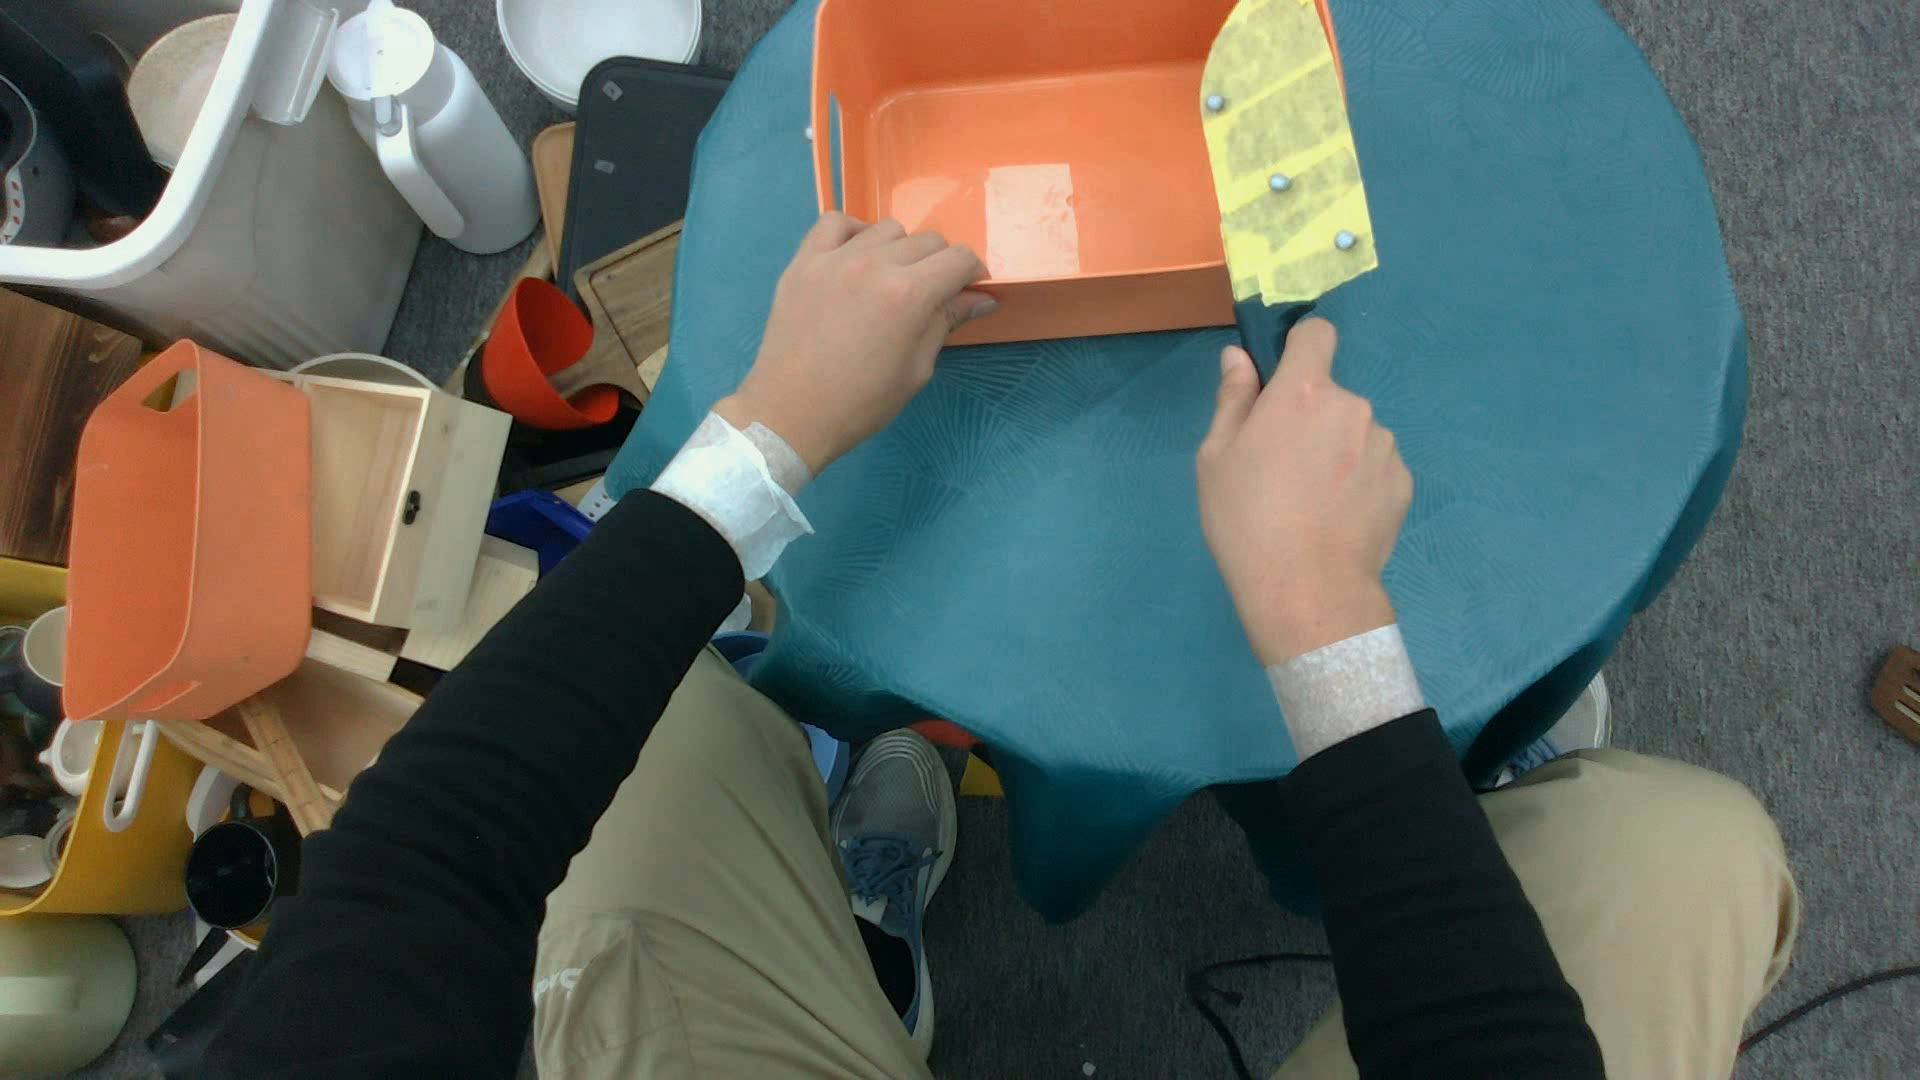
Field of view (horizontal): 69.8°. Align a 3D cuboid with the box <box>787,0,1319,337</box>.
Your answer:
[{"bbox_3d":[0.049,-0.214,0.759,0.273,0.102,0.200,-4,72,1],"label":"box"}]

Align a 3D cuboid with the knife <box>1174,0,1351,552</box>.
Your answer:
[{"bbox_3d":[0.148,-0.137,0.657,0.080,0.027,0.290,-20,71,44],"label":"knife"}]
